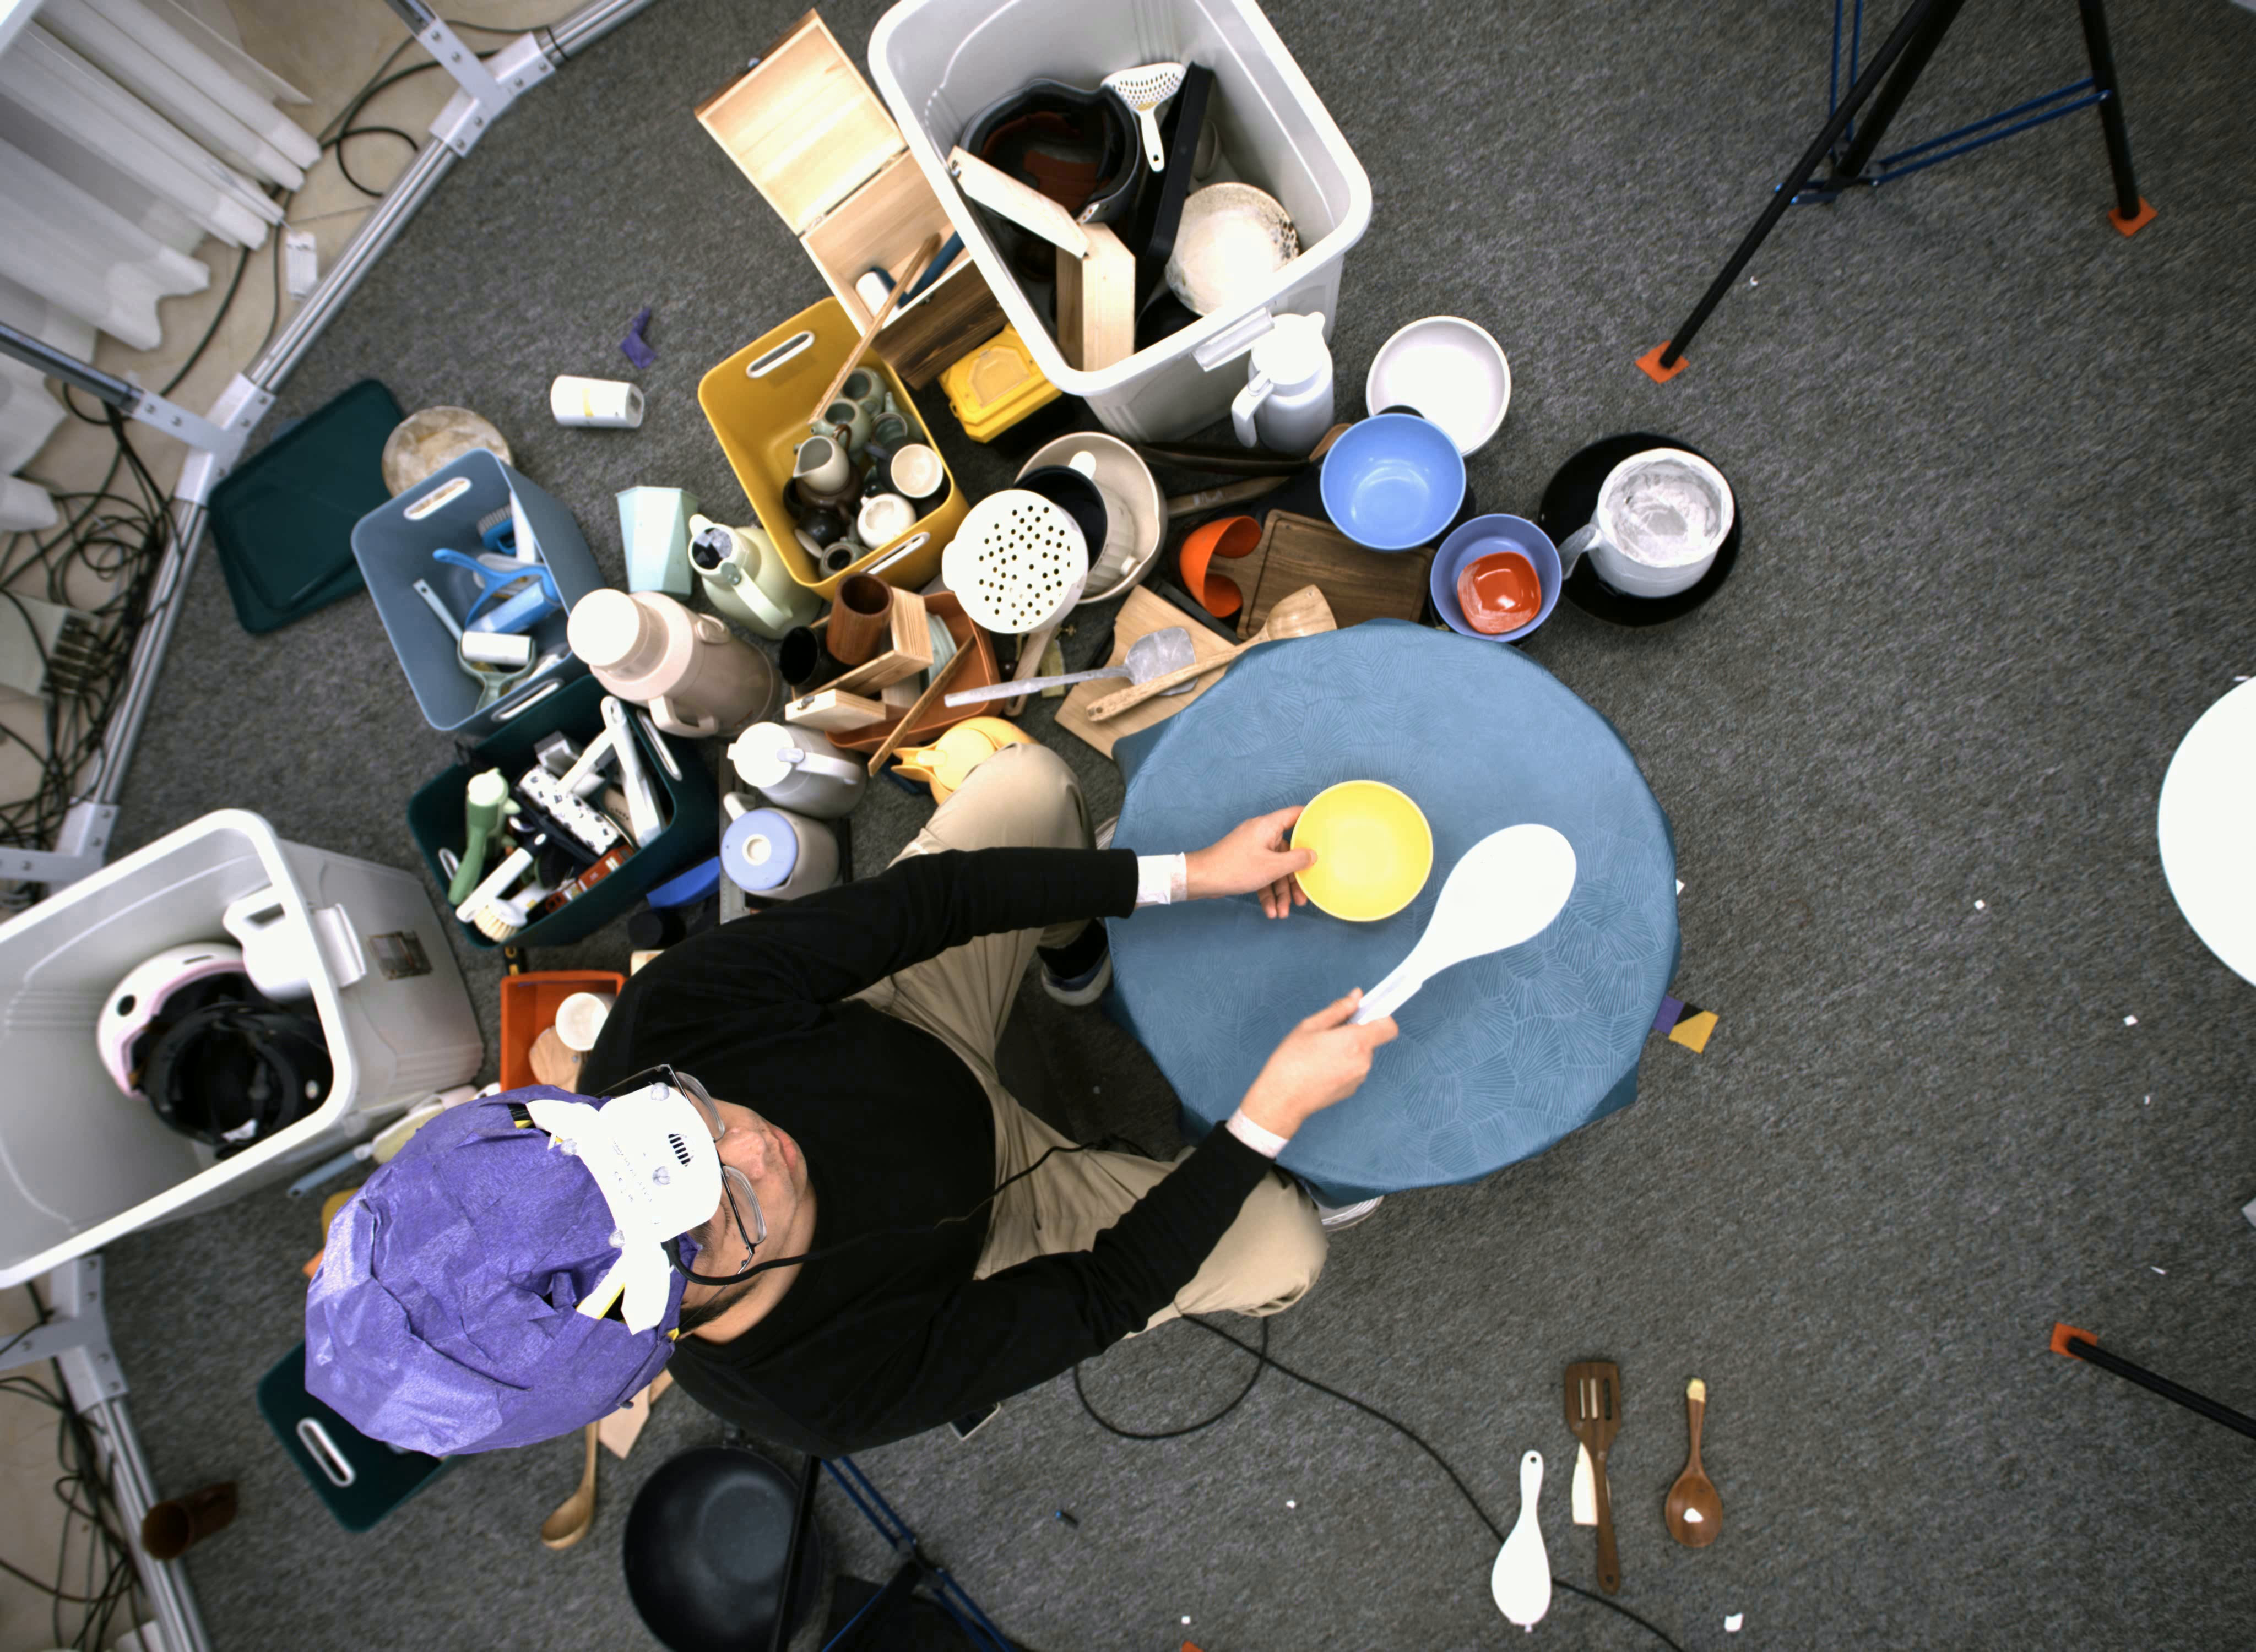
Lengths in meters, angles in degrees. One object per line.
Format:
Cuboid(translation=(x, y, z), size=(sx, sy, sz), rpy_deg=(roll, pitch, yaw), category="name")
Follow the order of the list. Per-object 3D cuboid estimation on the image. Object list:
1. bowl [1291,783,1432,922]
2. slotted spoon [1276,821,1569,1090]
Cuboid(translation=(0.243, 0.030, 1.438), size=(0.146, 0.060, 0.144), rpy_deg=(-1, 84, 10), category="bowl")
Cuboid(translation=(0.274, 0.126, 1.299), size=(0.352, 0.133, 0.046), rpy_deg=(-40, 120, 8), category="slotted spoon")
